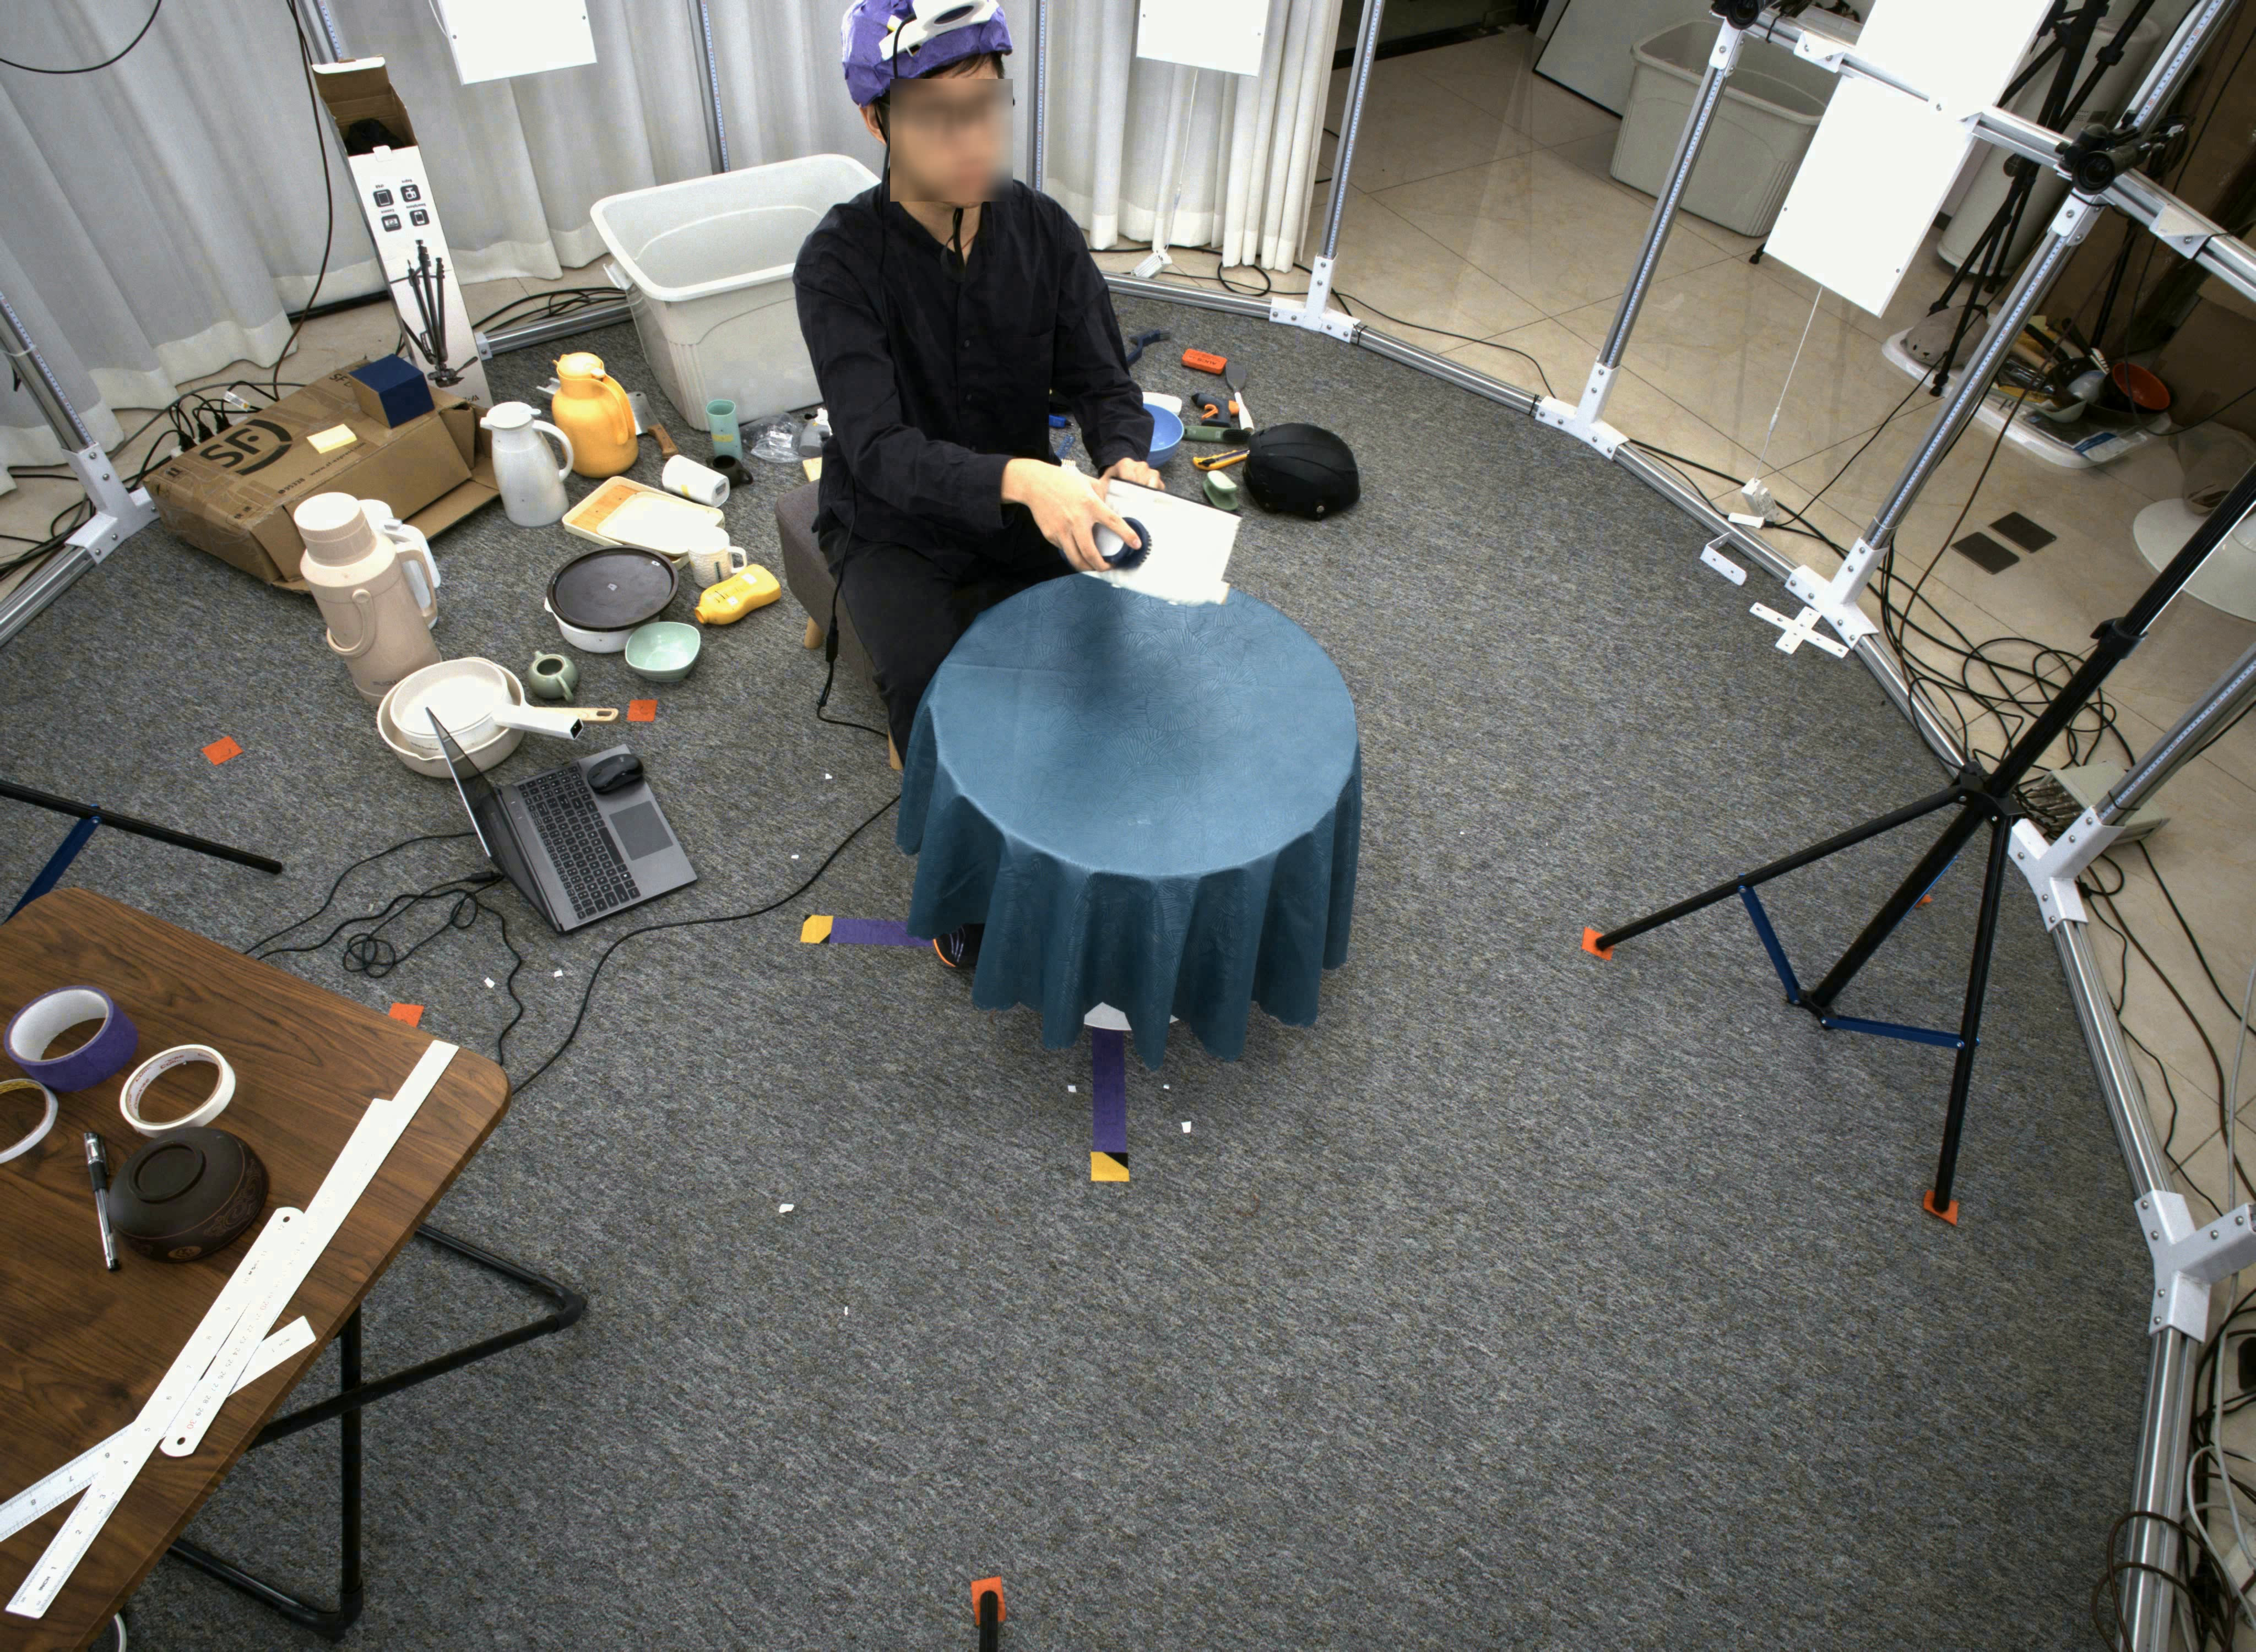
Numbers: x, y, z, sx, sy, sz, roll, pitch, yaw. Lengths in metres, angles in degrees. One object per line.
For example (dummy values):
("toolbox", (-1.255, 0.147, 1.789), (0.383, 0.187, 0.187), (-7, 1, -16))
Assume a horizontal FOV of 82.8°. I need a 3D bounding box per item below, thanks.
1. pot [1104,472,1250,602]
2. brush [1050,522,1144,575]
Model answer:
("pot", (0.063, -0.381, 1.726), (0.190, 0.141, 0.242), (15, 14, 3))
("brush", (-0.038, -0.352, 1.636), (0.122, 0.067, 0.061), (9, 7, 32))
